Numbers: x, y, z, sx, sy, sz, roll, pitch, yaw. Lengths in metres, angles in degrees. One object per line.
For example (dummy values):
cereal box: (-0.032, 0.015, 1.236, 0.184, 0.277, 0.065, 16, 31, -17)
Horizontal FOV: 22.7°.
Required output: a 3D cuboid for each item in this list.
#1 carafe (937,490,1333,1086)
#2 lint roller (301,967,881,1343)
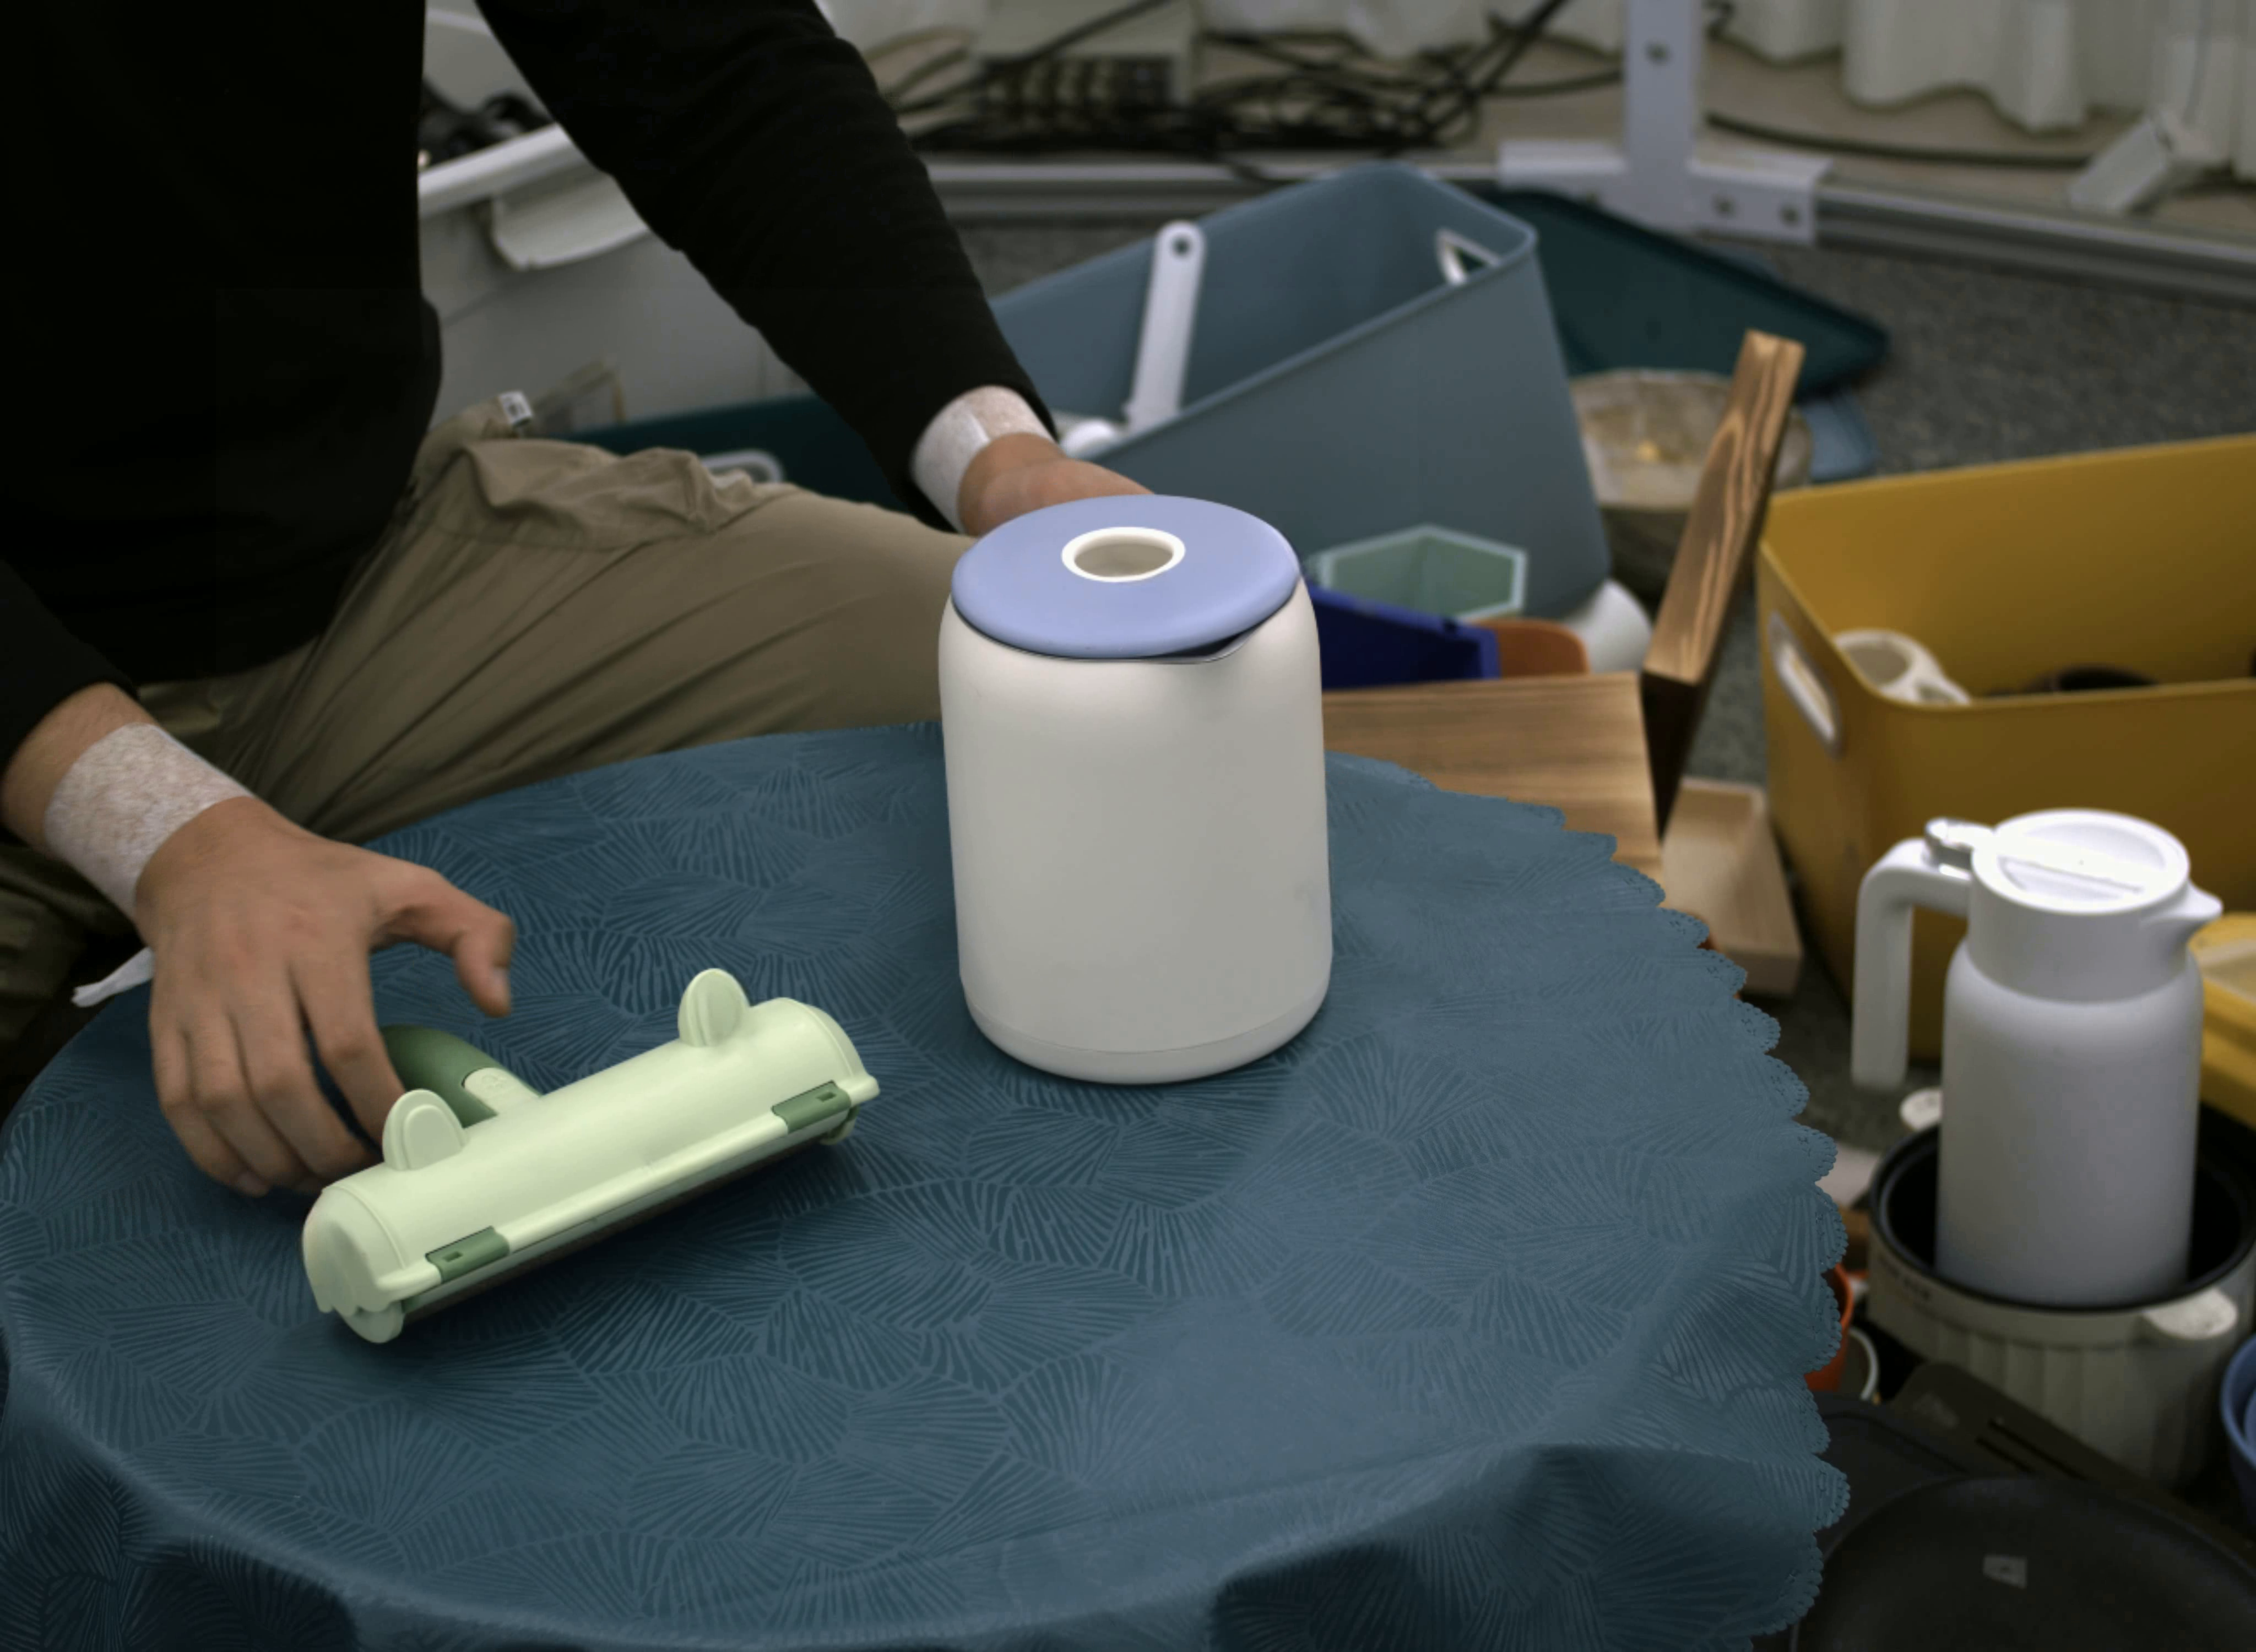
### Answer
carafe: (-0.009, -0.023, 1.957, 0.133, 0.181, 0.192, -15, 27, -24)
lint roller: (-0.210, 0.085, 1.870, 0.200, 0.081, 0.183, -22, 35, -34)
